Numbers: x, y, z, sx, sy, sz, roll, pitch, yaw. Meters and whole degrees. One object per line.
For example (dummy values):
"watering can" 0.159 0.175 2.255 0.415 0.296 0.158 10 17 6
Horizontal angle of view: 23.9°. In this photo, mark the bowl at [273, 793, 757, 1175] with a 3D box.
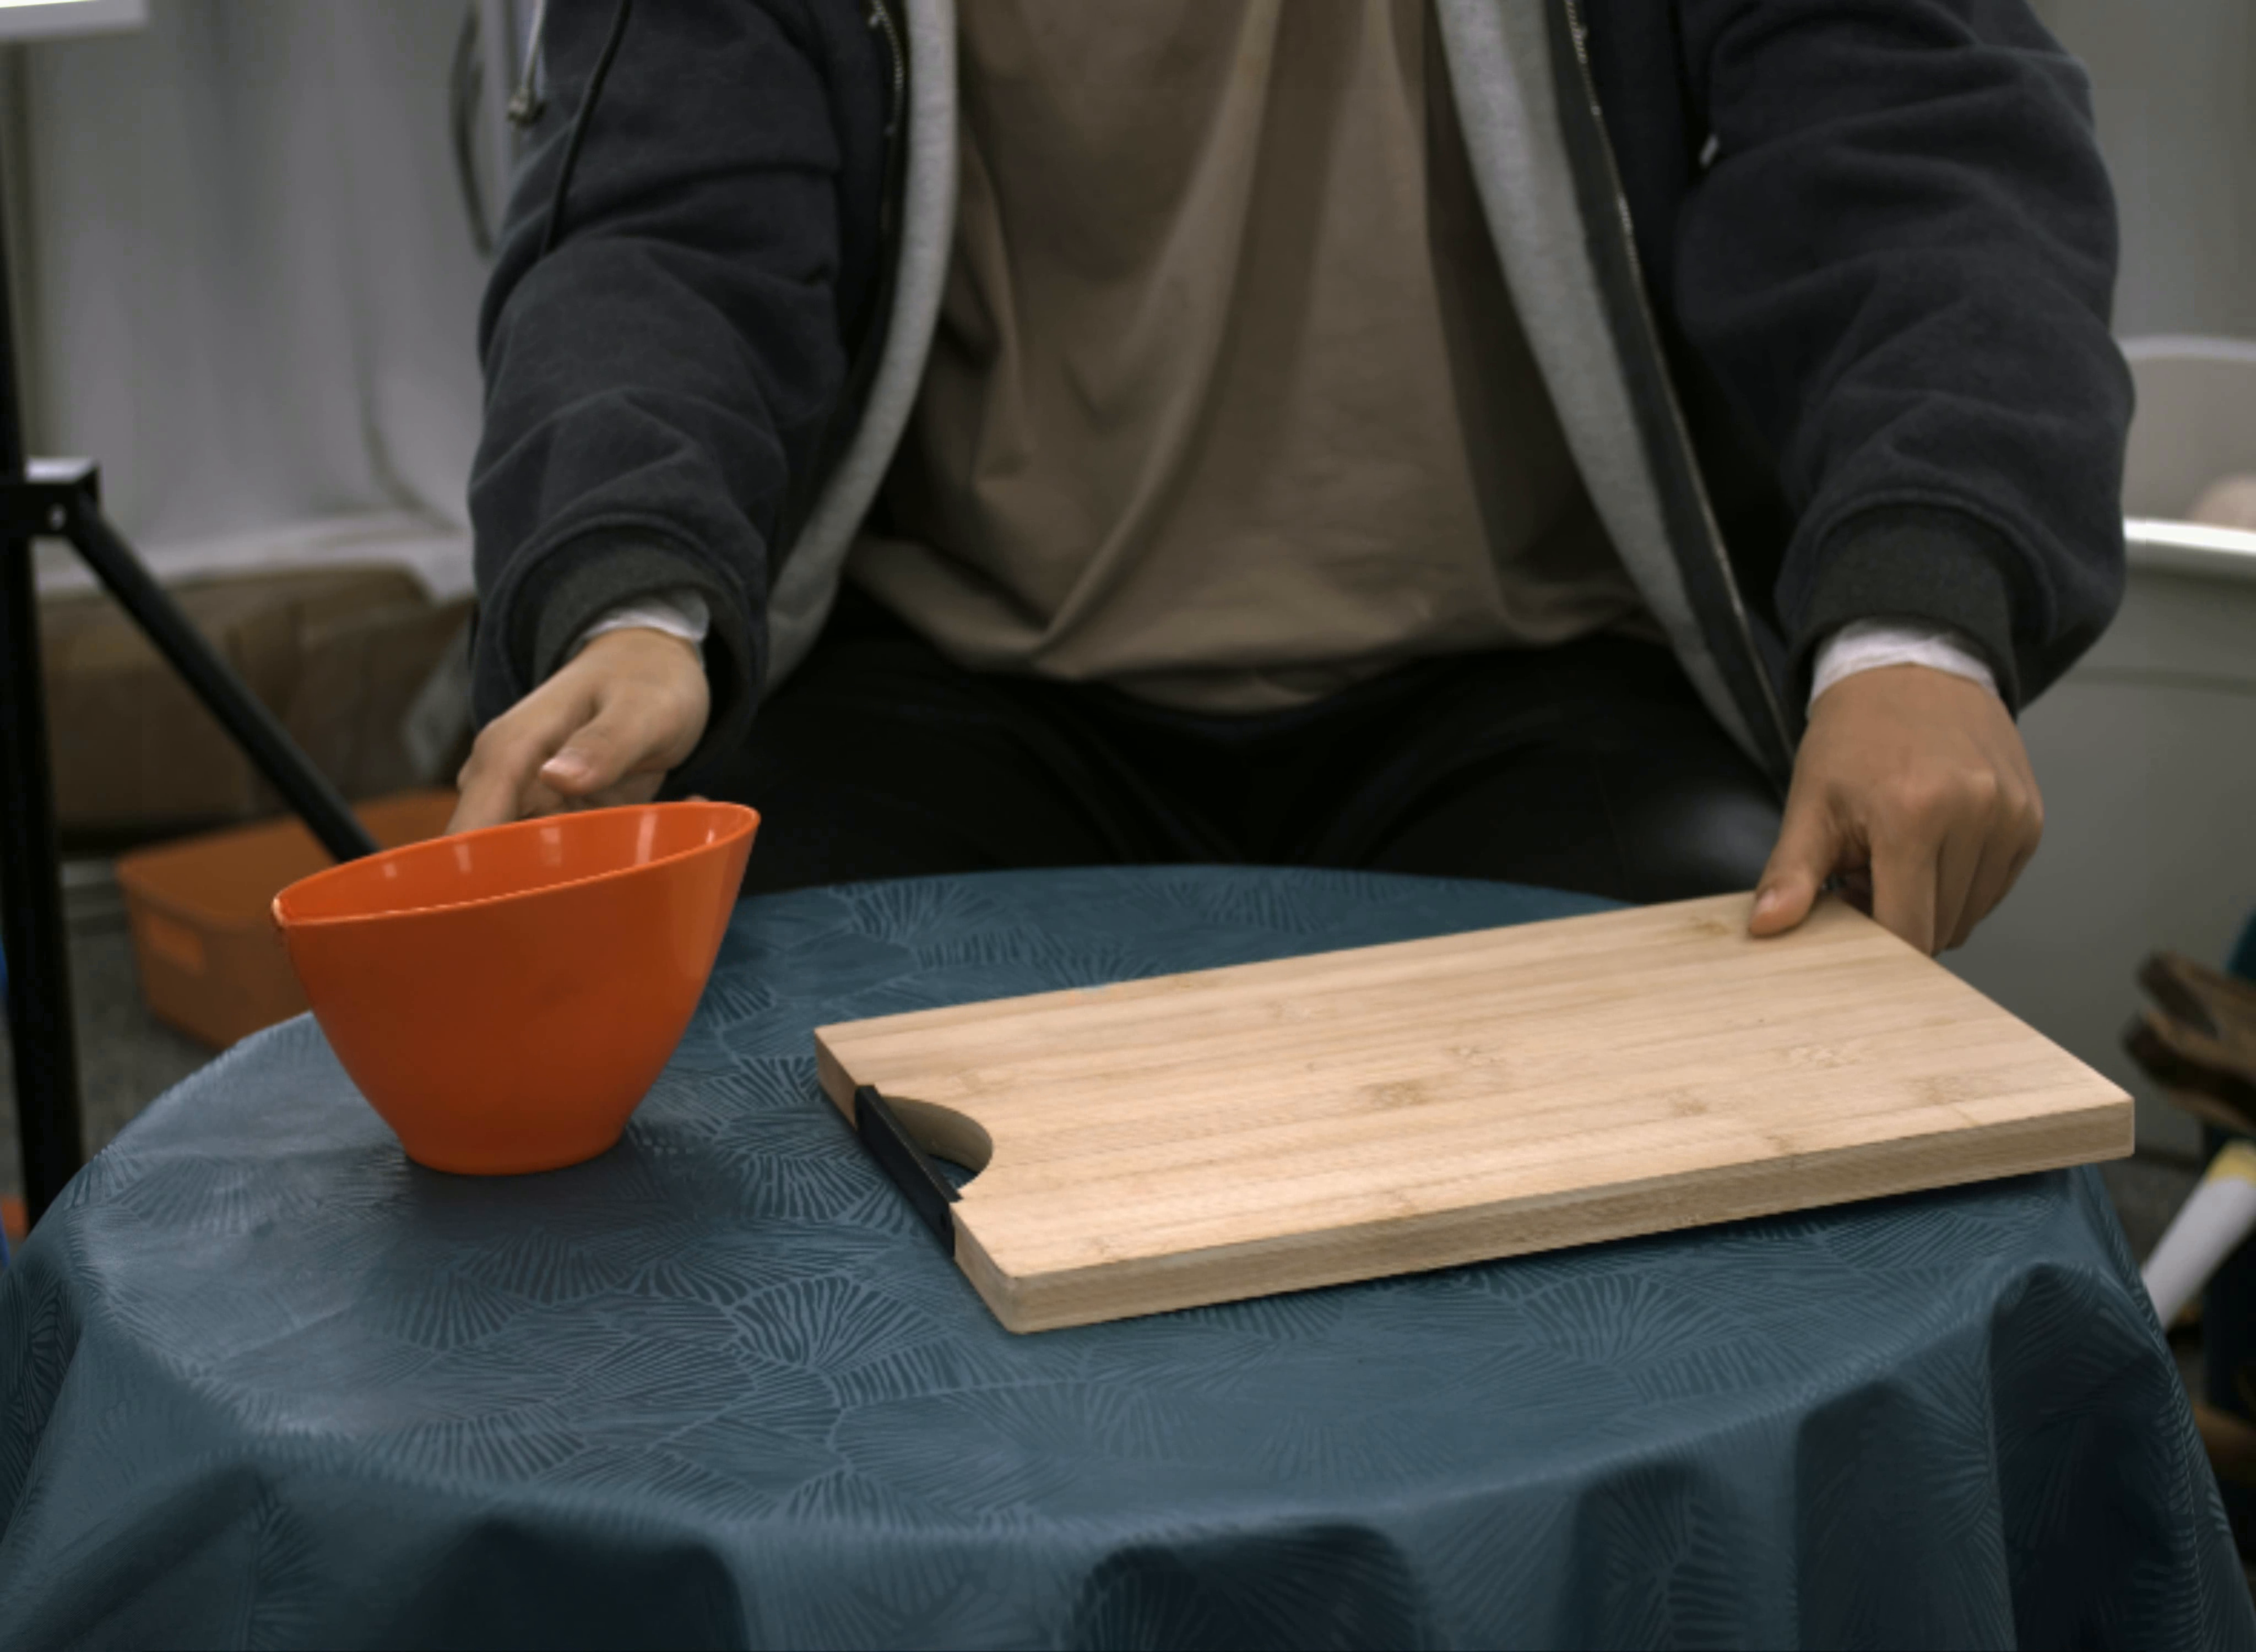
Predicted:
"bowl" -0.182 0.048 1.613 0.147 0.104 0.149 -4 18 0

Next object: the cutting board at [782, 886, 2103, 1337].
"cutting board" 0.090 0.081 1.597 0.343 0.023 0.254 -8 16 -14
